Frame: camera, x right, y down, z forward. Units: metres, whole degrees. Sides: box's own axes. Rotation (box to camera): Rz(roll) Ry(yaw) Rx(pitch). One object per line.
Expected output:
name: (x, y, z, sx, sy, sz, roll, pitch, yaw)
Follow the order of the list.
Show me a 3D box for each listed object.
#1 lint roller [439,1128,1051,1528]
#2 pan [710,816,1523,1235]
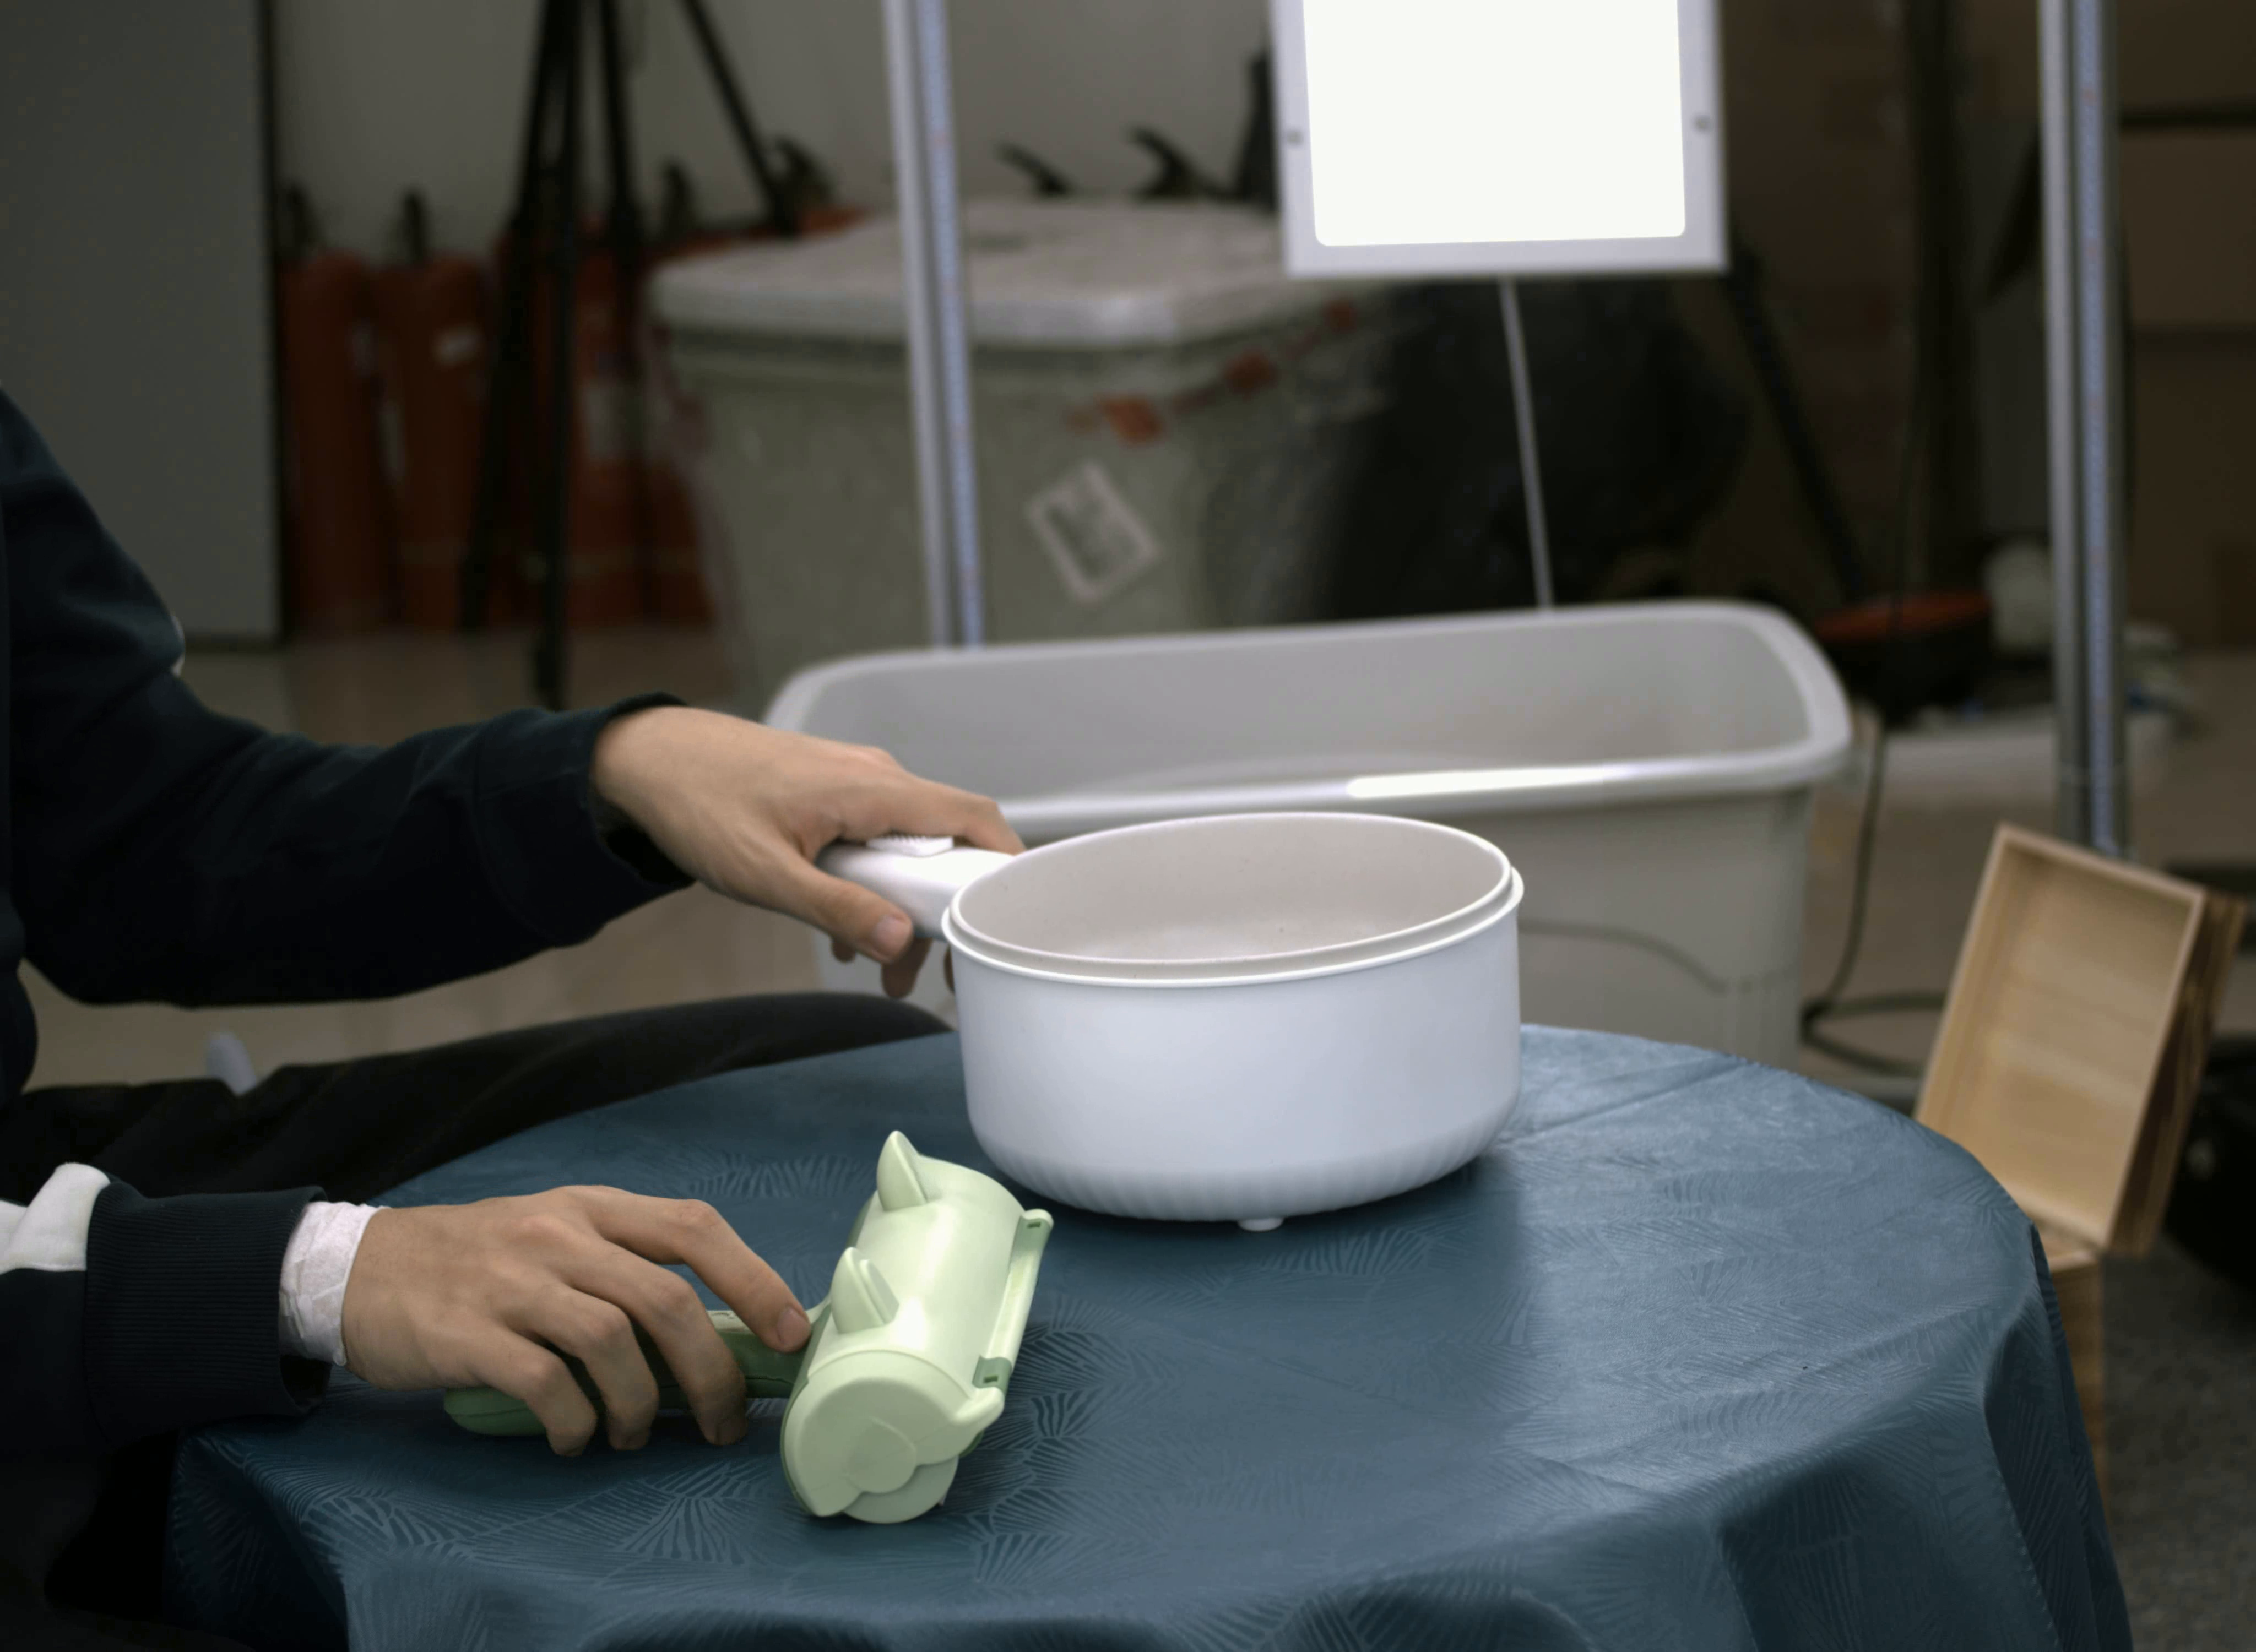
lint roller: (-0.122, 0.148, 1.694, 0.184, 0.082, 0.197, 2, 15, 5)
pan: (-0.016, 0.063, 1.960, 0.362, 0.102, 0.196, 7, 19, 45)
